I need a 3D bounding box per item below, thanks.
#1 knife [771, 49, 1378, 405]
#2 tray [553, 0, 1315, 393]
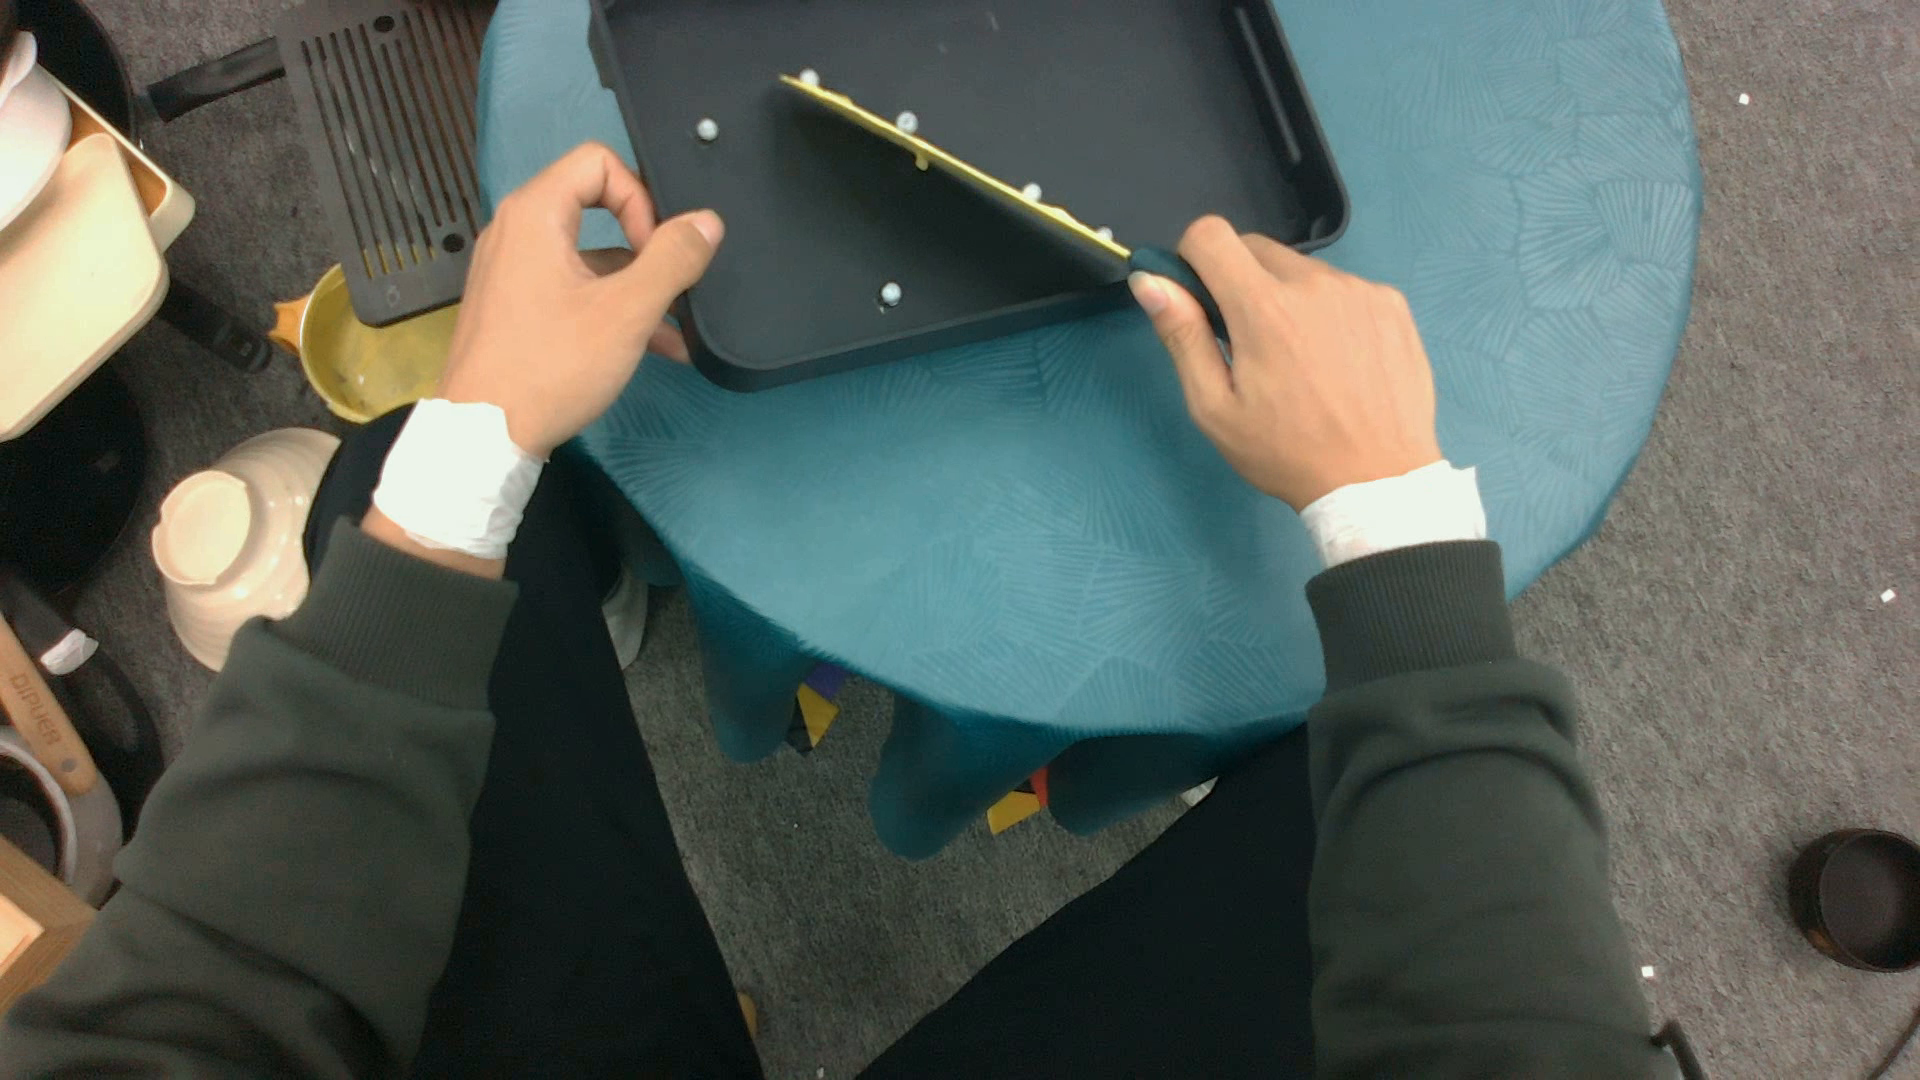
[{"bbox_3d":[0.049,-0.134,0.581,0.289,0.081,0.027,28,104,-7],"label":"knife"},{"bbox_3d":[-0.001,-0.185,0.608,0.319,0.037,0.184,-18,83,-25],"label":"tray"}]
